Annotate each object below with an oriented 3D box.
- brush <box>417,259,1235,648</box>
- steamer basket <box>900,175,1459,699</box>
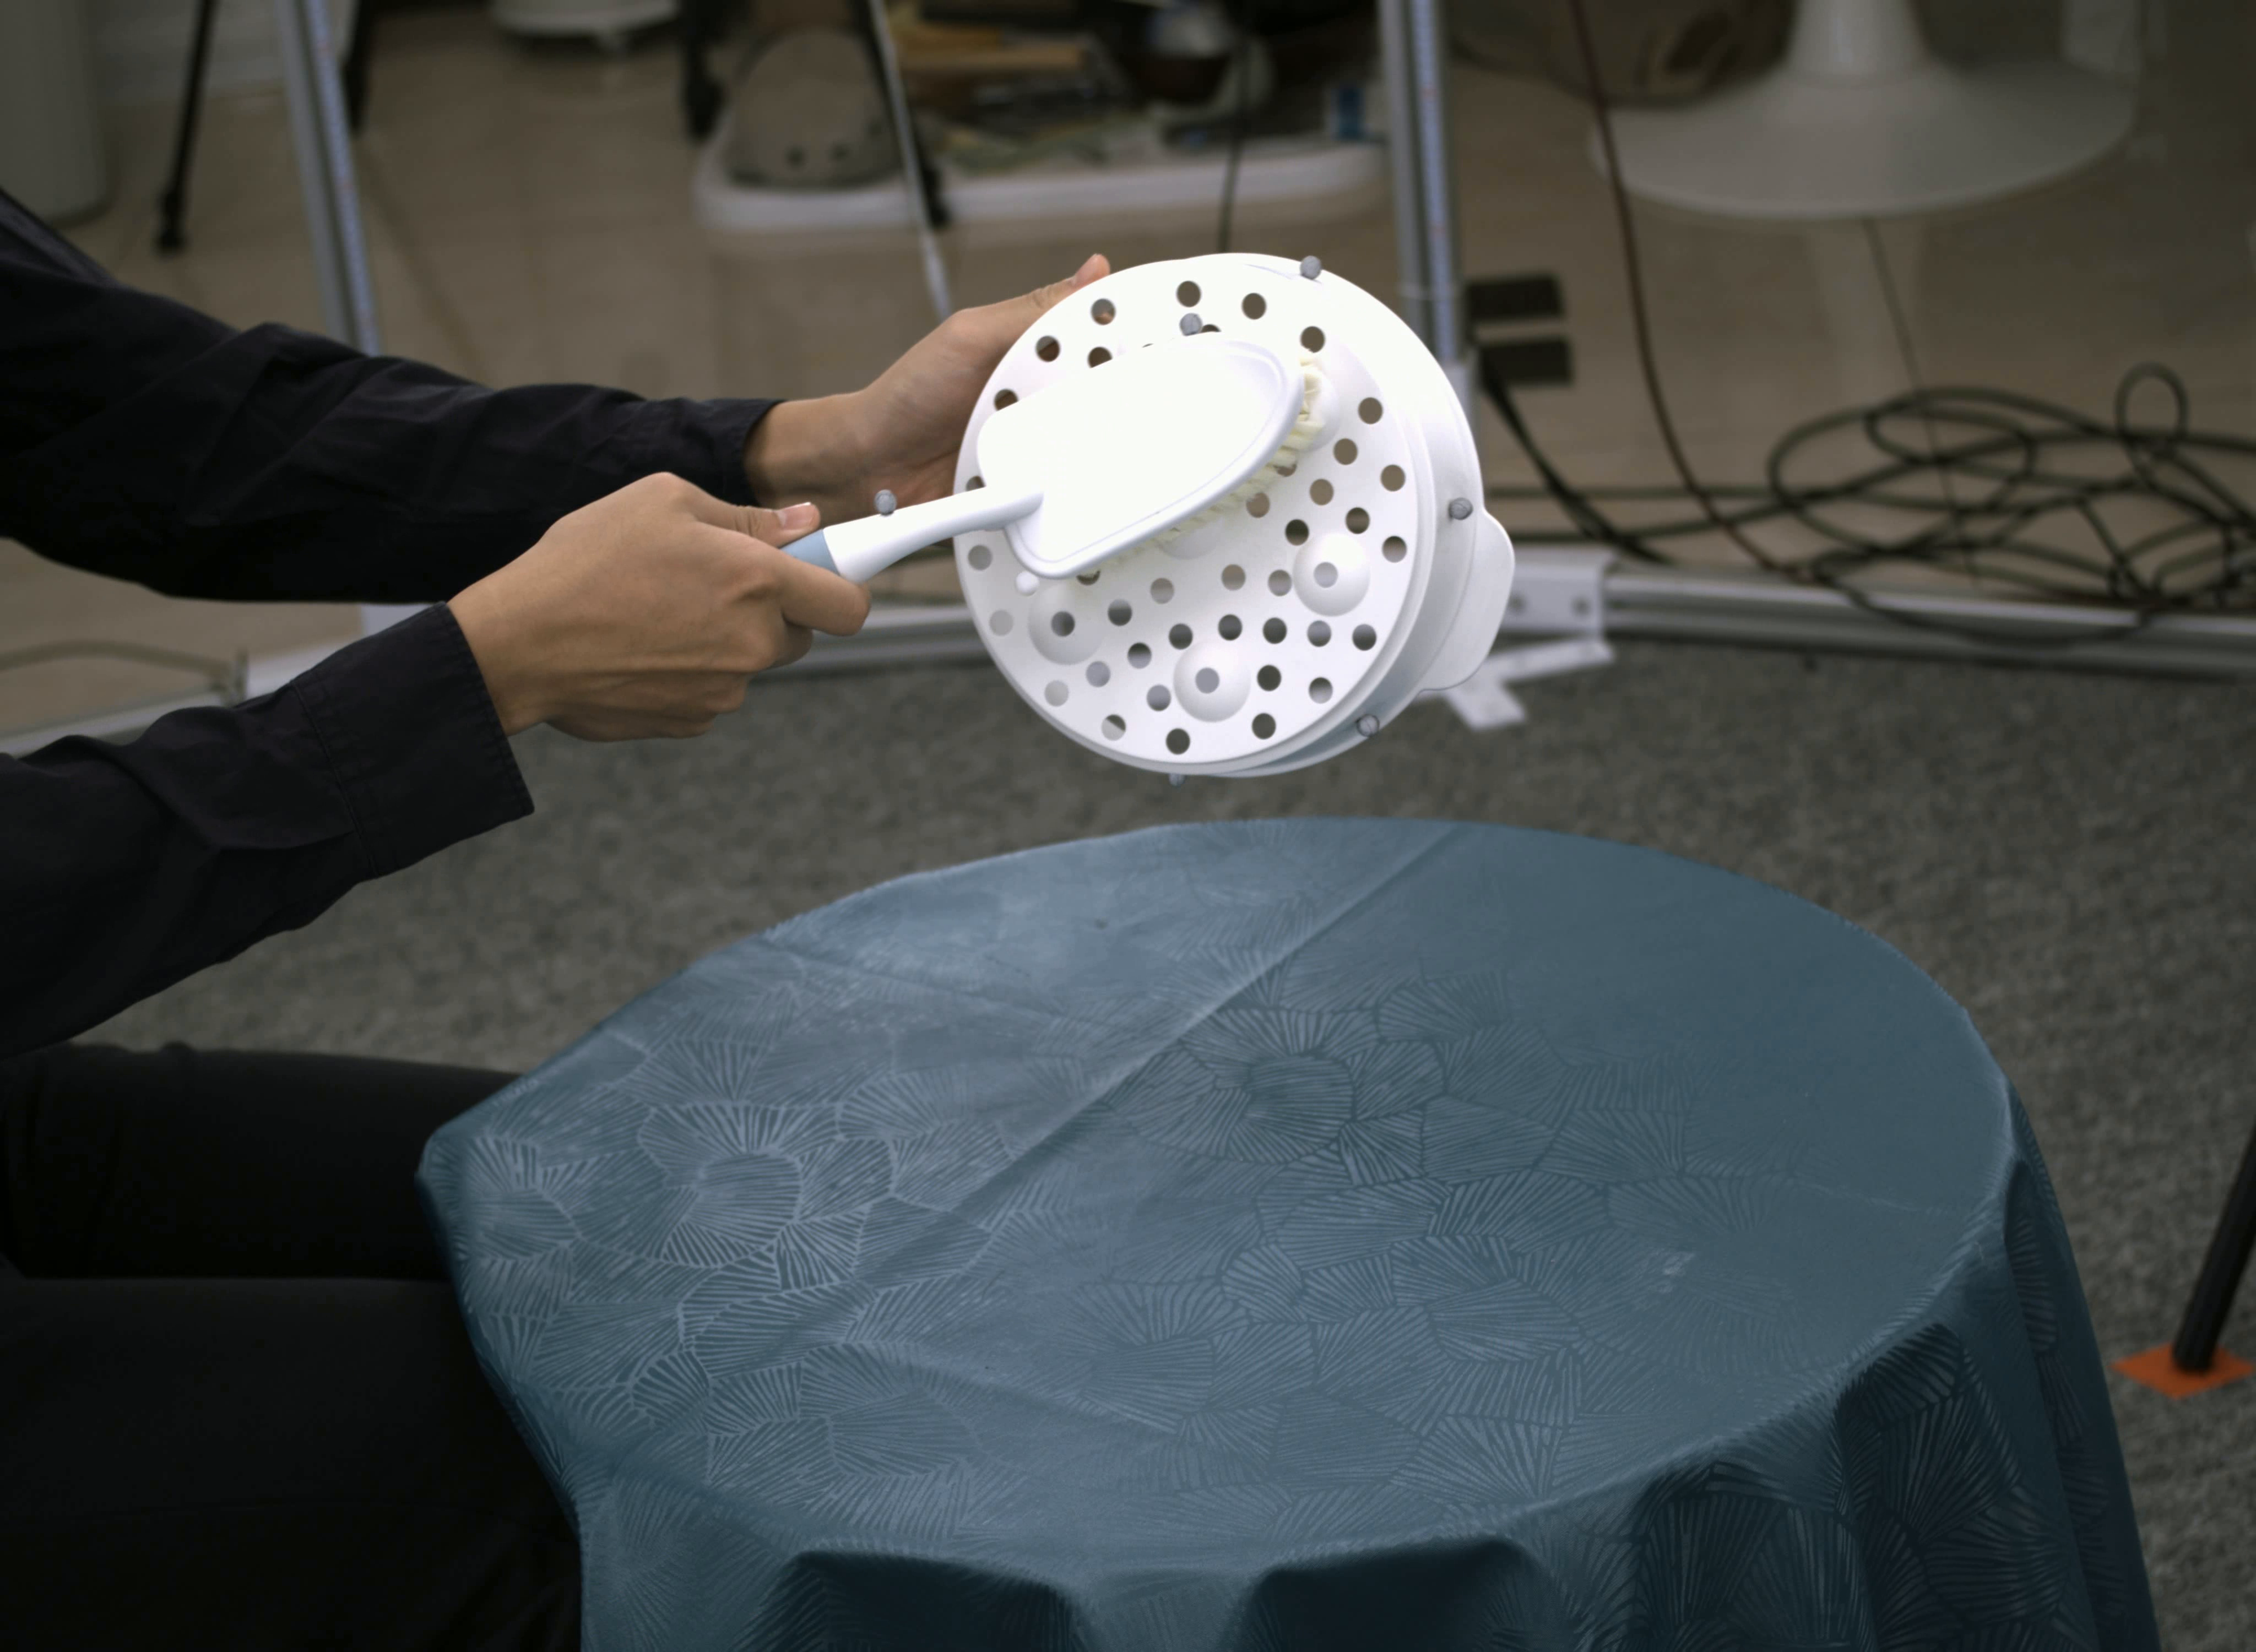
[{"bbox_3d":[-0.113,-0.139,2.119,0.325,0.086,0.081,-23,50,4],"label":"brush"},{"bbox_3d":[0.010,-0.148,2.157,0.229,0.203,0.069,22,12,16],"label":"steamer basket"}]
